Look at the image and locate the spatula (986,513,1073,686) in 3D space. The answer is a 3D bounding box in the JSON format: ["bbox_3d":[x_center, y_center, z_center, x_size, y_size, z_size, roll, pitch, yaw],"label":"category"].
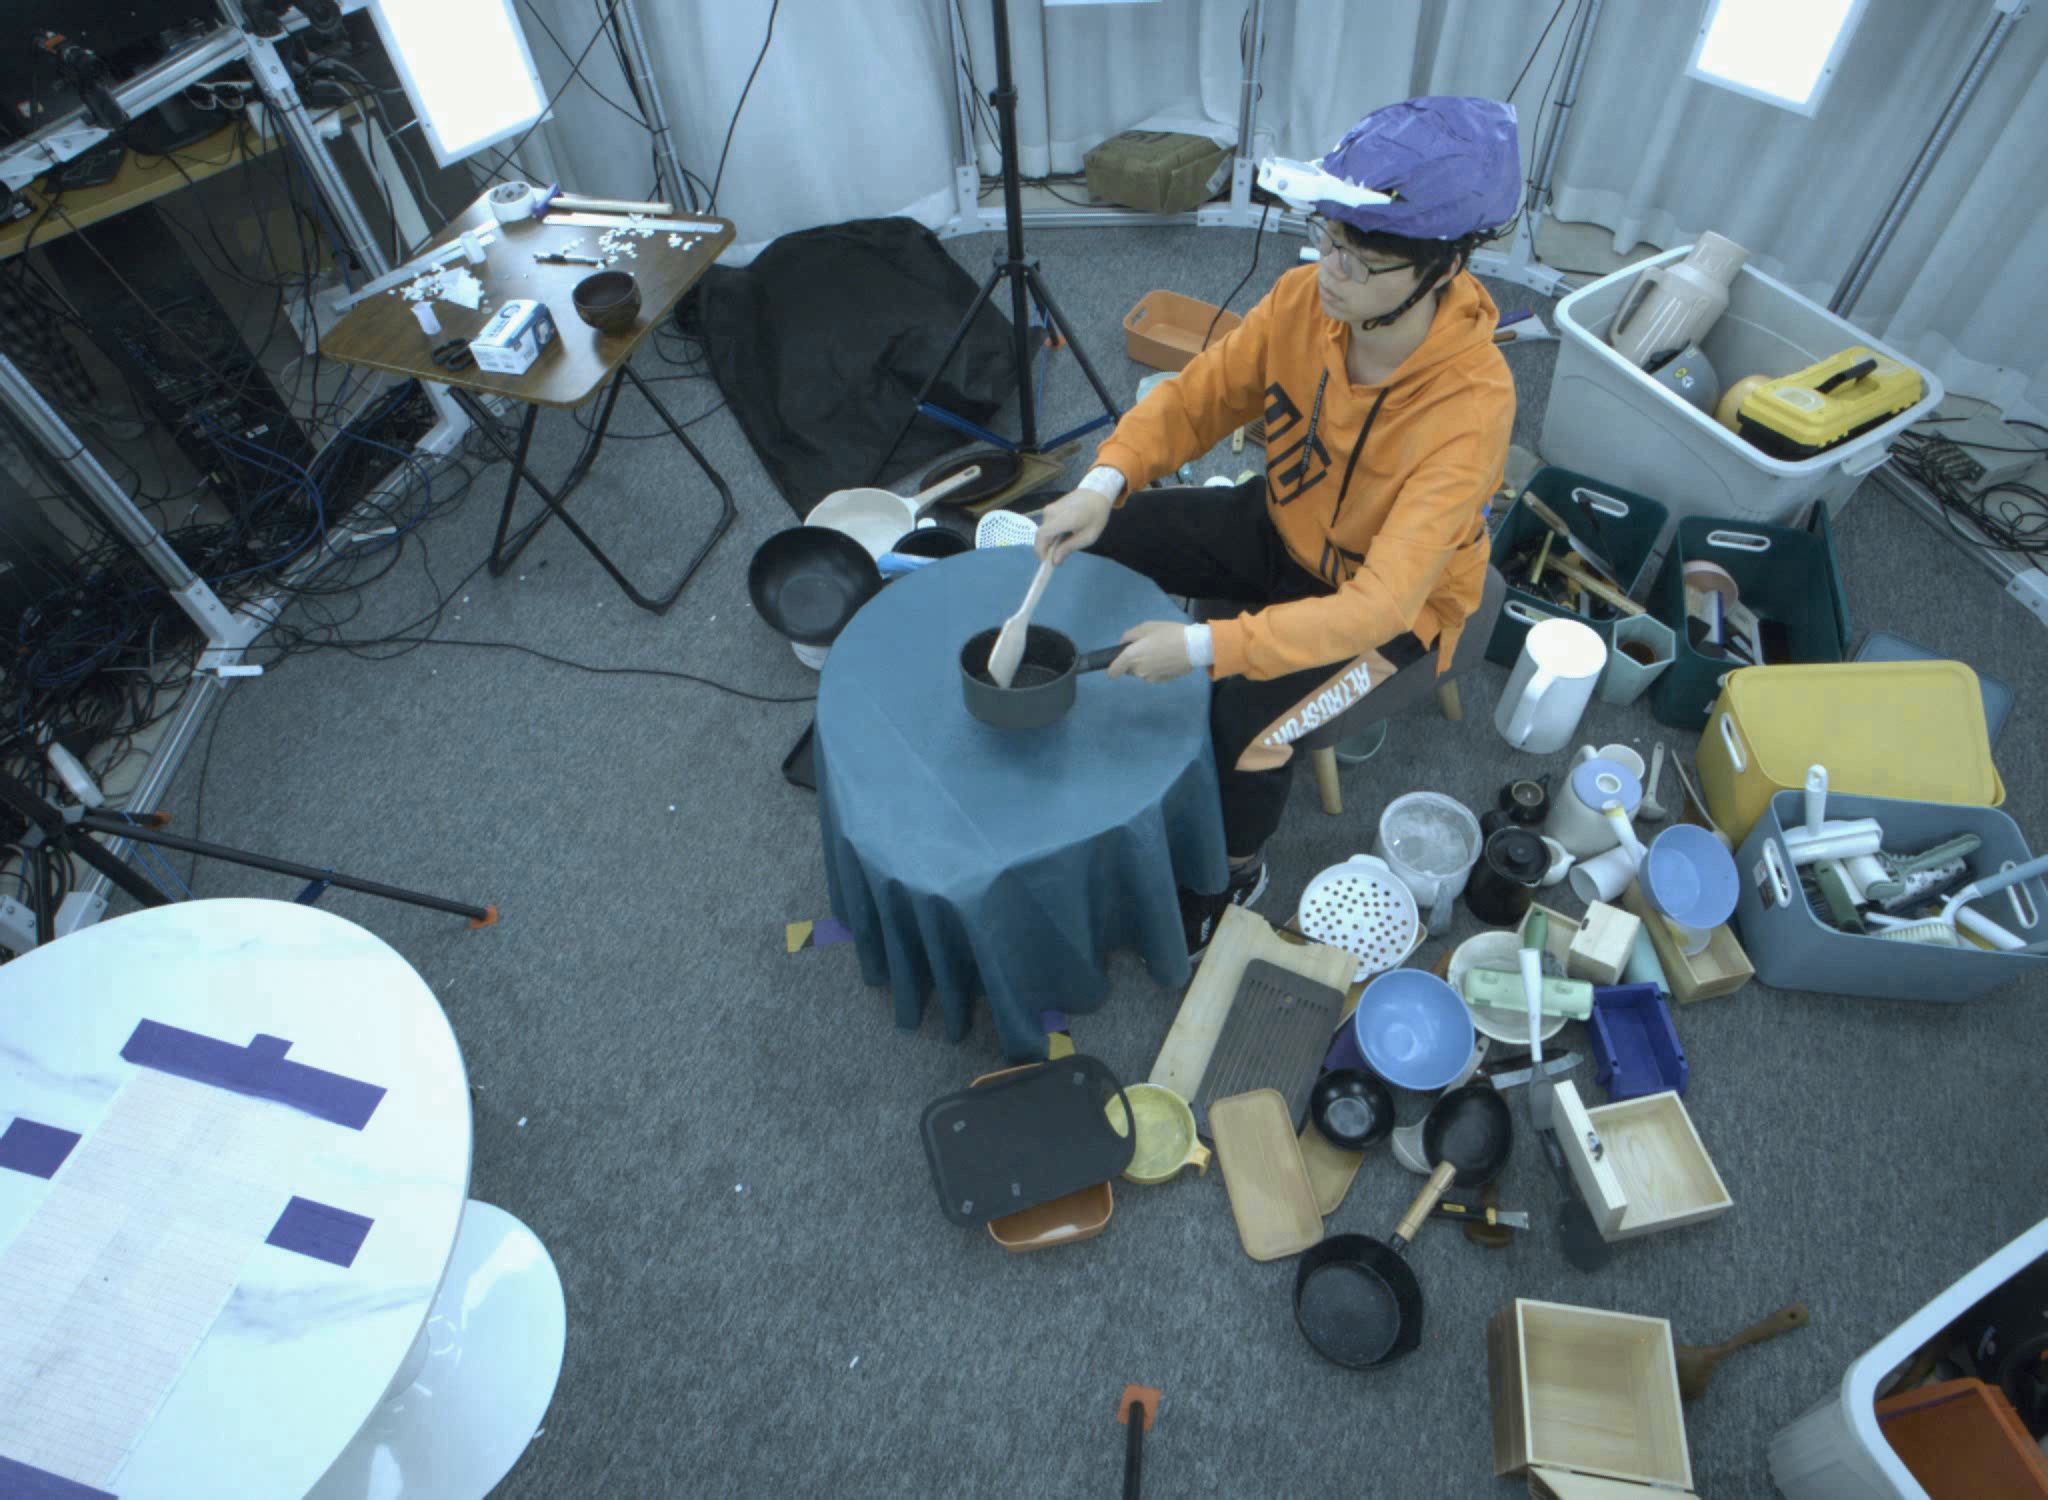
[{"bbox_3d":[0.012,-0.224,1.763,0.010,0.073,0.292,12,65,28],"label":"spatula"}]

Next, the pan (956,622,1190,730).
[{"bbox_3d":[0.071,-0.112,1.748,0.329,0.087,0.169,-4,41,-2],"label":"pan"}]
